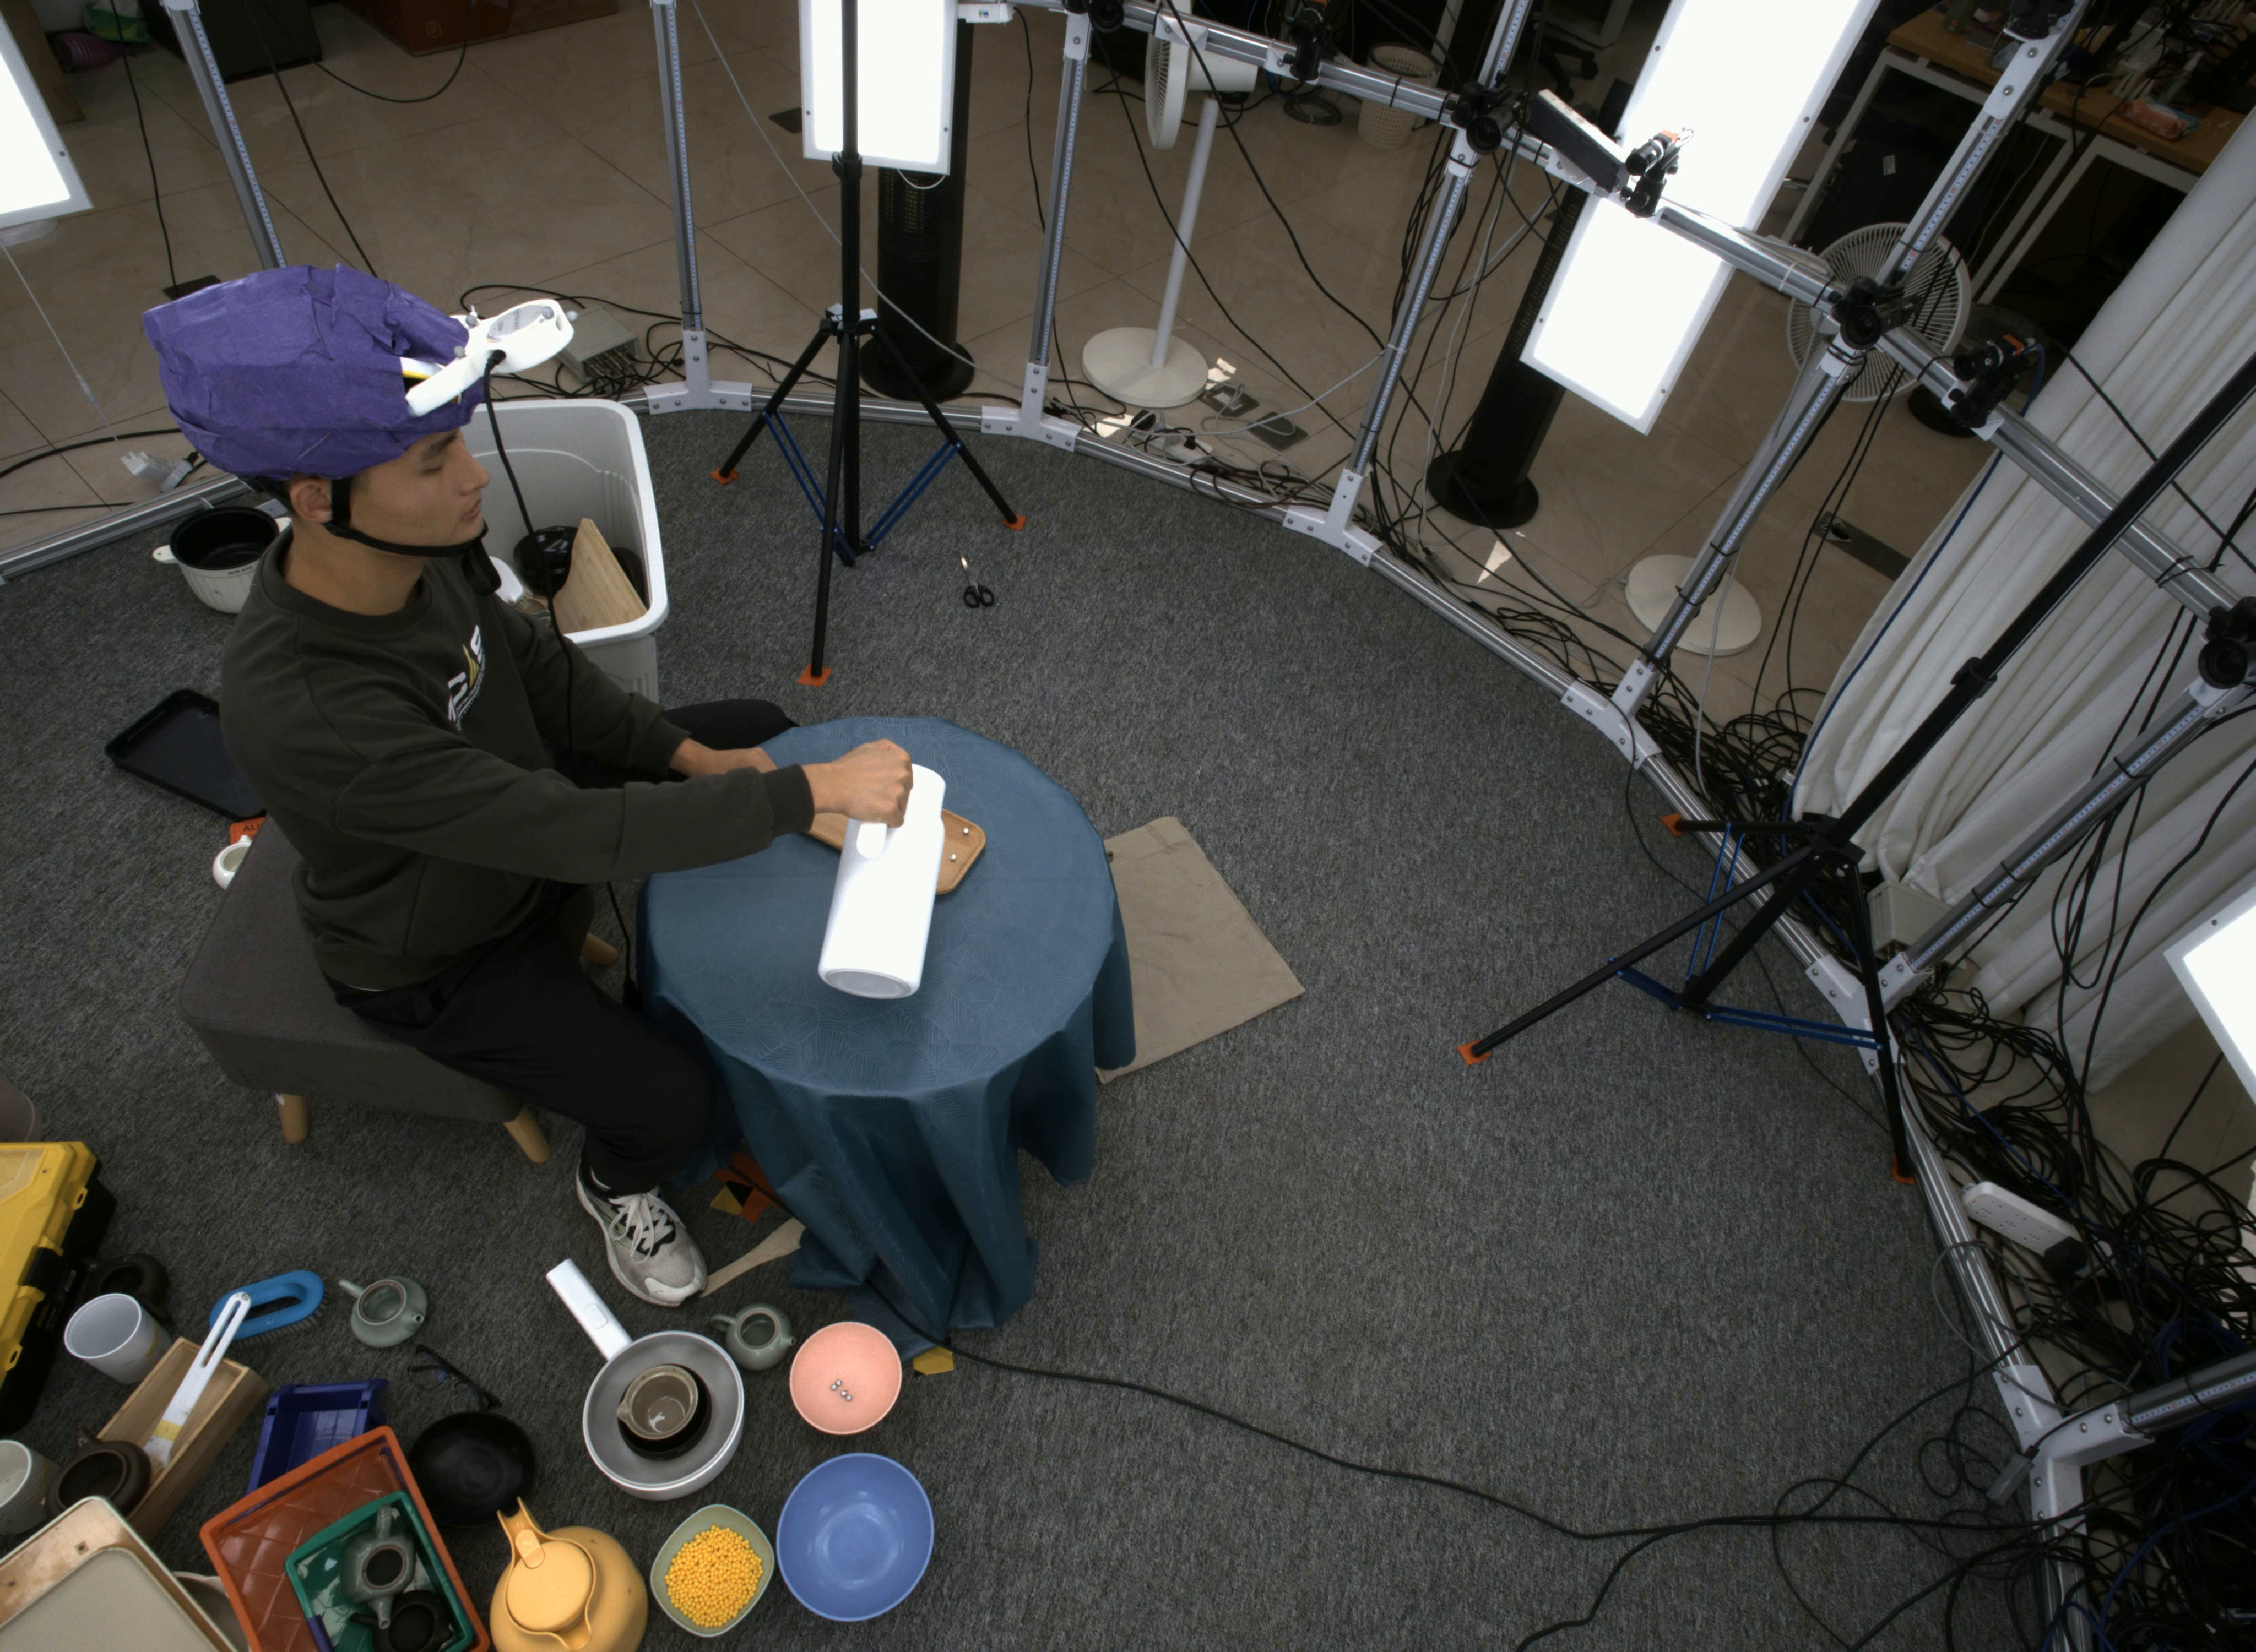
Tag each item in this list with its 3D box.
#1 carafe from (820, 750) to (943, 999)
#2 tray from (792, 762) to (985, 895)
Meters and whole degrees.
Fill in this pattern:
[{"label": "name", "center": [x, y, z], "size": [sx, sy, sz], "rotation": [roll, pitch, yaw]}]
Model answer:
[{"label": "carafe", "center": [-0.286, 0.053, 1.530], "size": [0.122, 0.176, 0.267], "rotation": [6, 66, 3]}, {"label": "tray", "center": [-0.321, 0.002, 1.749], "size": [0.246, 0.023, 0.130], "rotation": [26, 50, 8]}]
